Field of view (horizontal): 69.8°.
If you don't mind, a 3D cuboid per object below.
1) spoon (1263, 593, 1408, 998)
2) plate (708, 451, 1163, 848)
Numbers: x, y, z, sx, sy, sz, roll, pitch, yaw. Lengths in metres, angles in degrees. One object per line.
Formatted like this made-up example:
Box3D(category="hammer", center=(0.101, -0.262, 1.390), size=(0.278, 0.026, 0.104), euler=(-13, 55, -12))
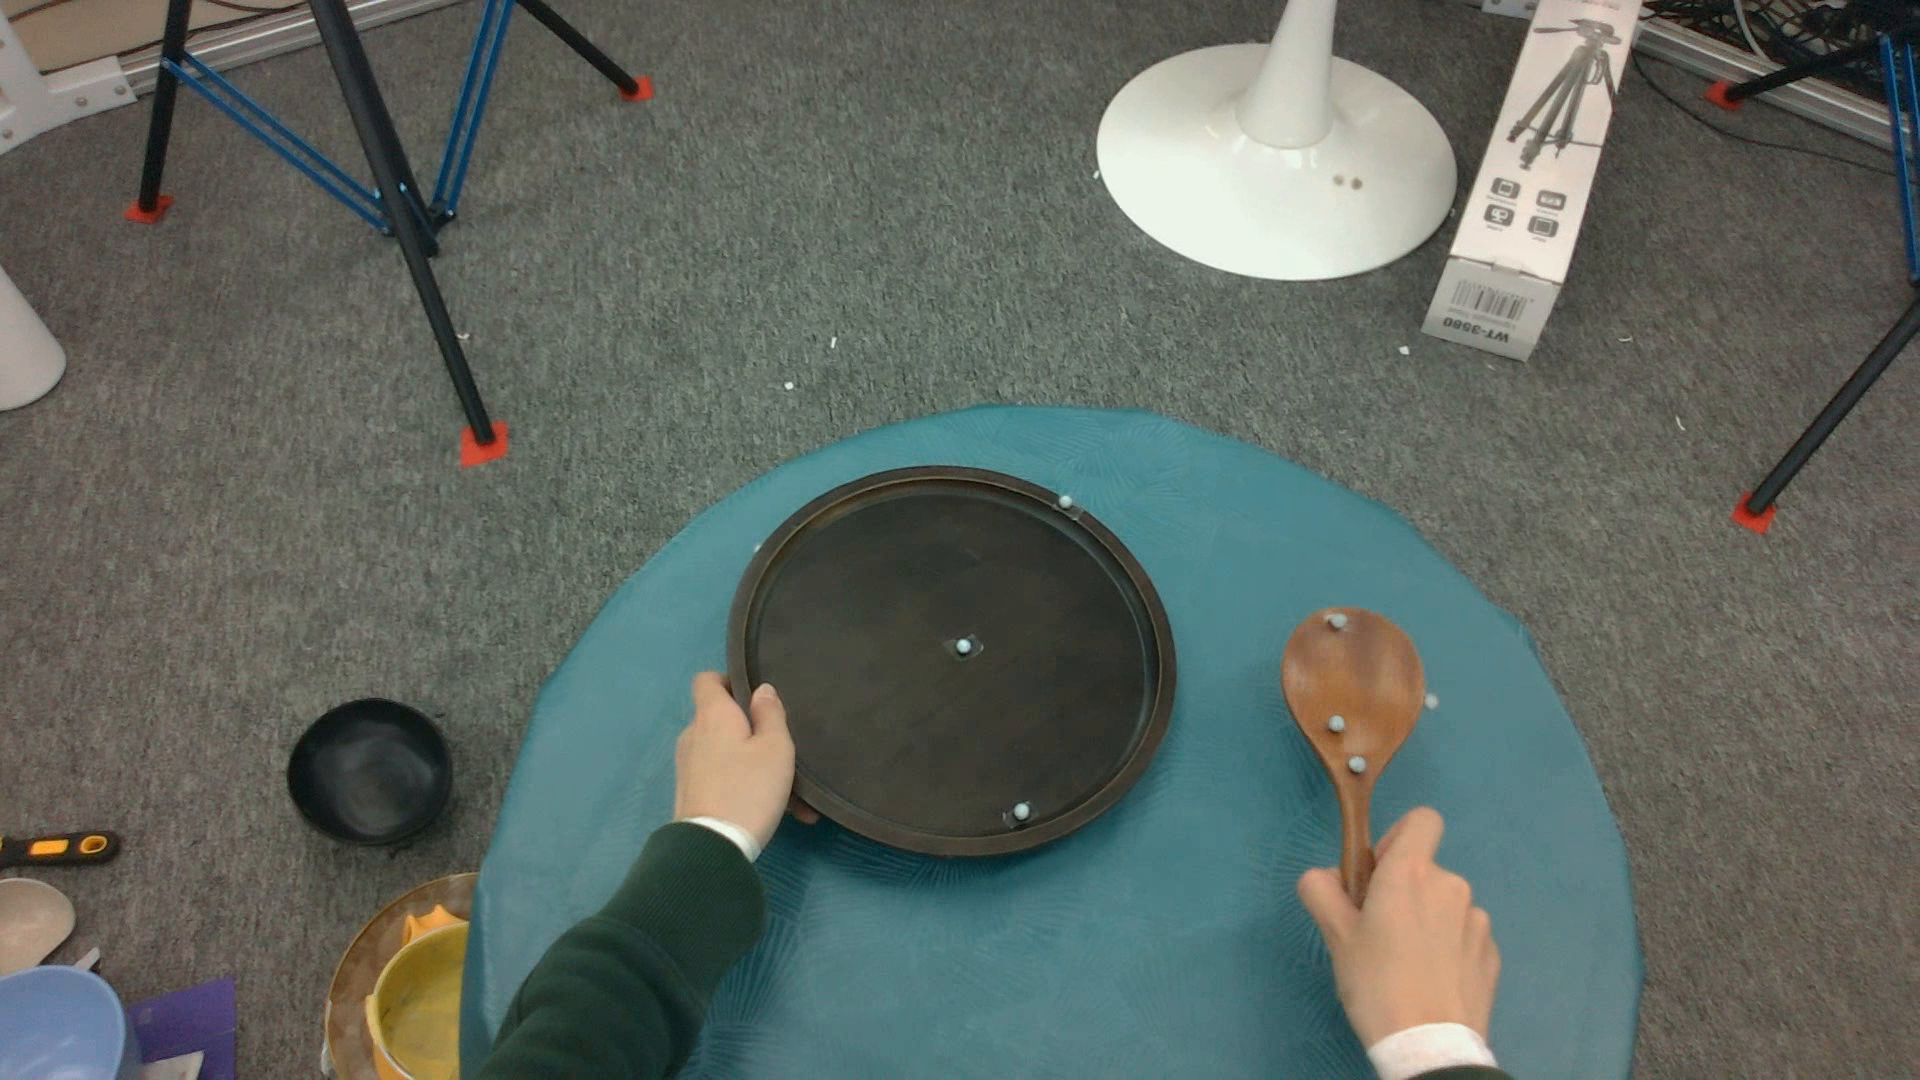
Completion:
Box3D(category="spoon", center=(0.191, 0.120, 0.689), size=(0.075, 0.017, 0.217), euler=(3, 54, 6))
Box3D(category="plate", center=(-0.012, 0.054, 0.769), size=(0.255, 0.029, 0.256), euler=(5, 53, -6))
